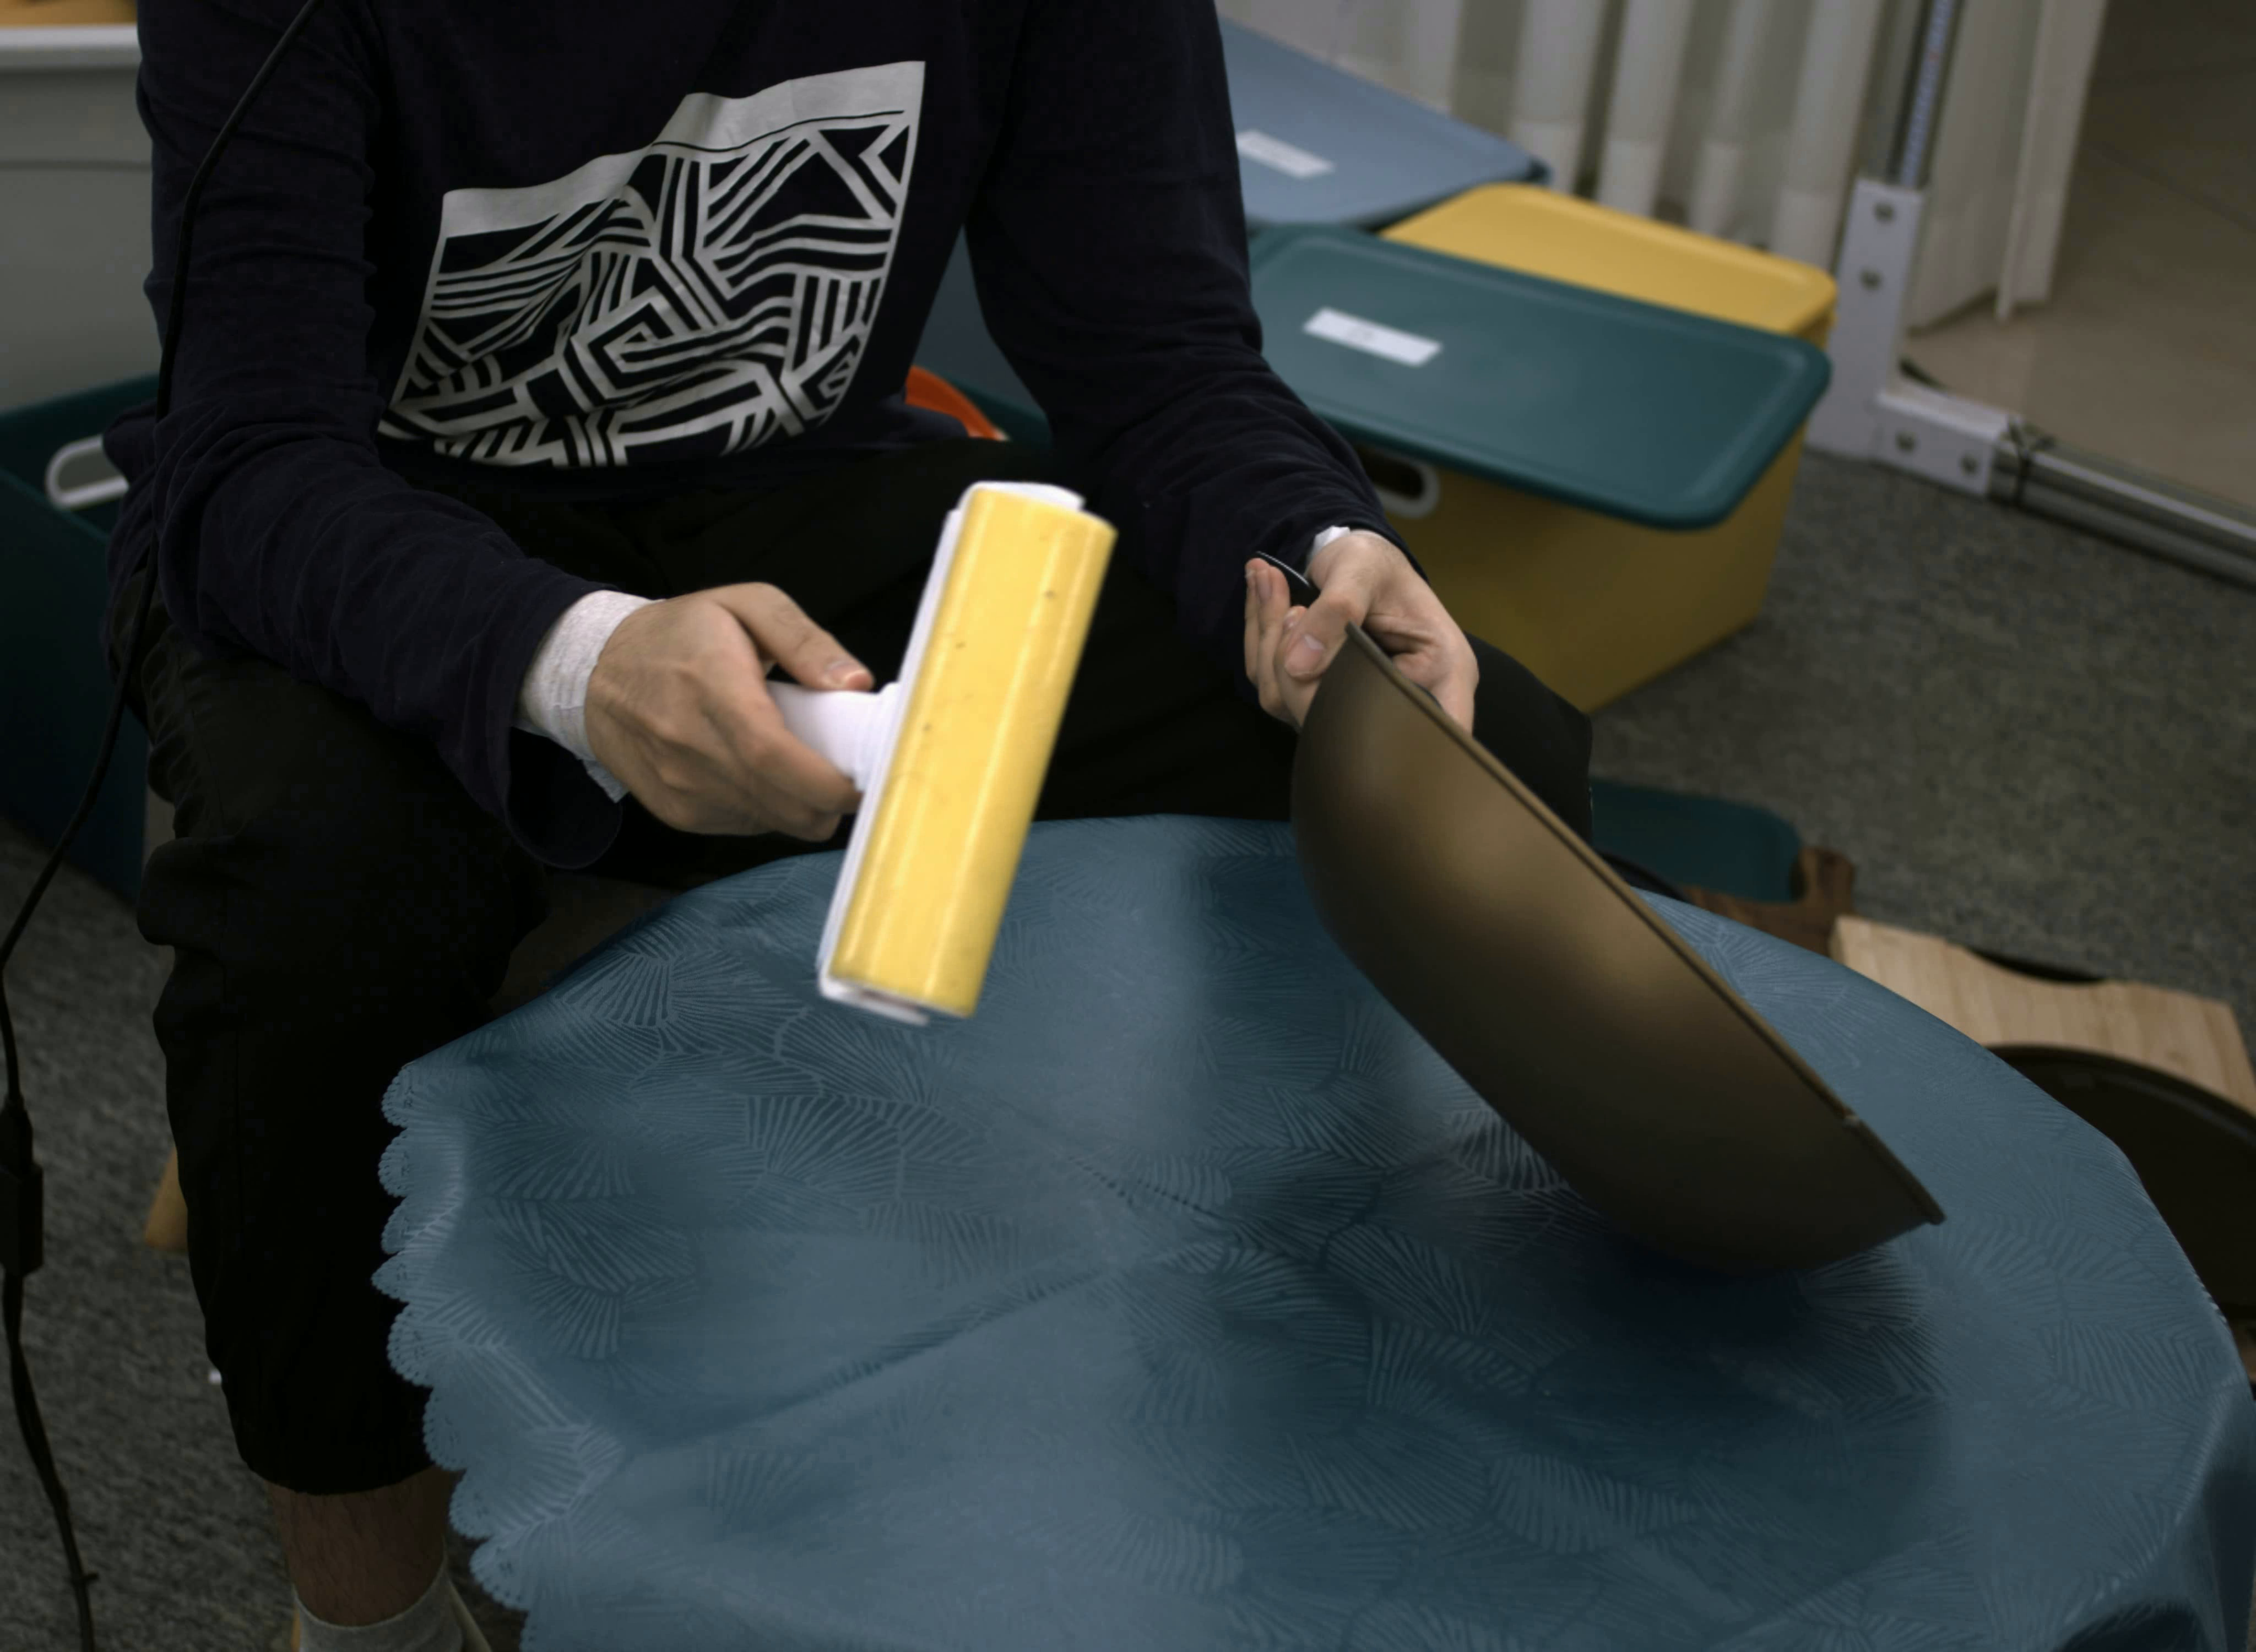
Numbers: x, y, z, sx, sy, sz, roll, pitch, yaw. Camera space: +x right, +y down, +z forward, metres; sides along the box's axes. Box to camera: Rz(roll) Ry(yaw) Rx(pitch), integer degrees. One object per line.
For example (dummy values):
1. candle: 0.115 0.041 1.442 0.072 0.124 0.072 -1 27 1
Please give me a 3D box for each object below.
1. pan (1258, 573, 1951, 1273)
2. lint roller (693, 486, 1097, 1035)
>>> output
1. pan: 0.112 0.019 1.846 0.285 0.087 0.467 44 2 -32
2. lint roller: -0.098 -0.028 1.718 0.051 0.175 0.193 21 -7 -39
